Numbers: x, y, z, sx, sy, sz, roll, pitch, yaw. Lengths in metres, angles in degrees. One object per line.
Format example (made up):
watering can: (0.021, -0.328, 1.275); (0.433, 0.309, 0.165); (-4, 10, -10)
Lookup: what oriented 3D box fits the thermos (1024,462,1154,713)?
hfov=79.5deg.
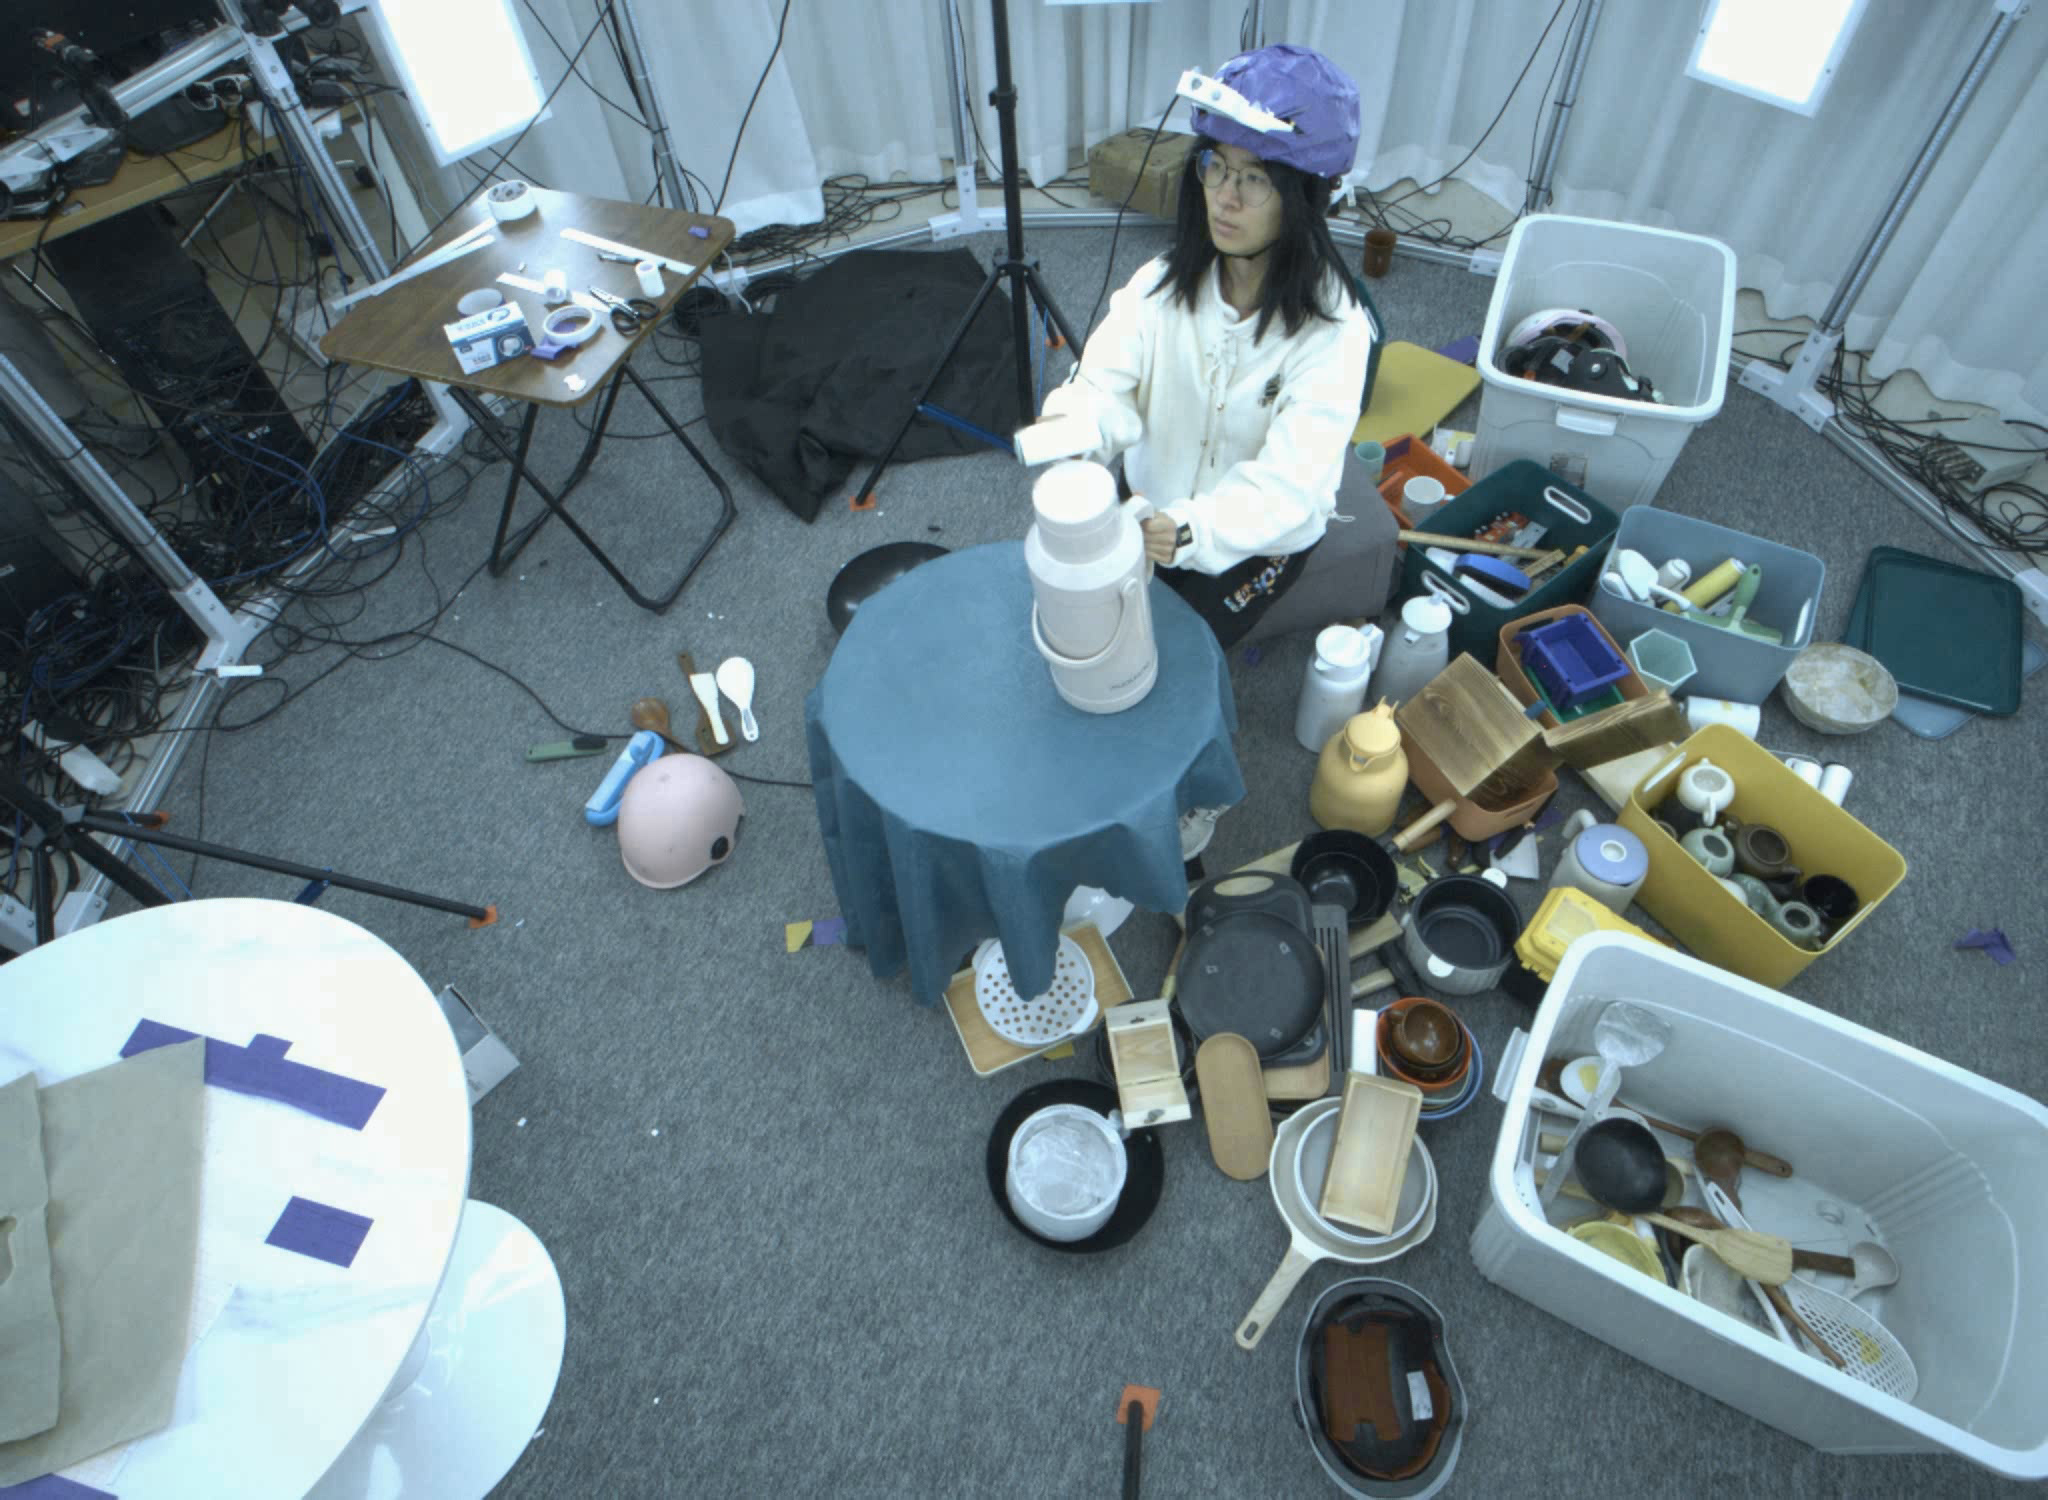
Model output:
thermos: (0.101, -0.228, 1.689); (0.208, 0.412, 0.172); (-42, 62, -15)

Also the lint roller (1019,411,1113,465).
lint roller: (0.051, -0.413, 1.606); (0.116, 0.049, 0.196); (-15, 14, 3)
